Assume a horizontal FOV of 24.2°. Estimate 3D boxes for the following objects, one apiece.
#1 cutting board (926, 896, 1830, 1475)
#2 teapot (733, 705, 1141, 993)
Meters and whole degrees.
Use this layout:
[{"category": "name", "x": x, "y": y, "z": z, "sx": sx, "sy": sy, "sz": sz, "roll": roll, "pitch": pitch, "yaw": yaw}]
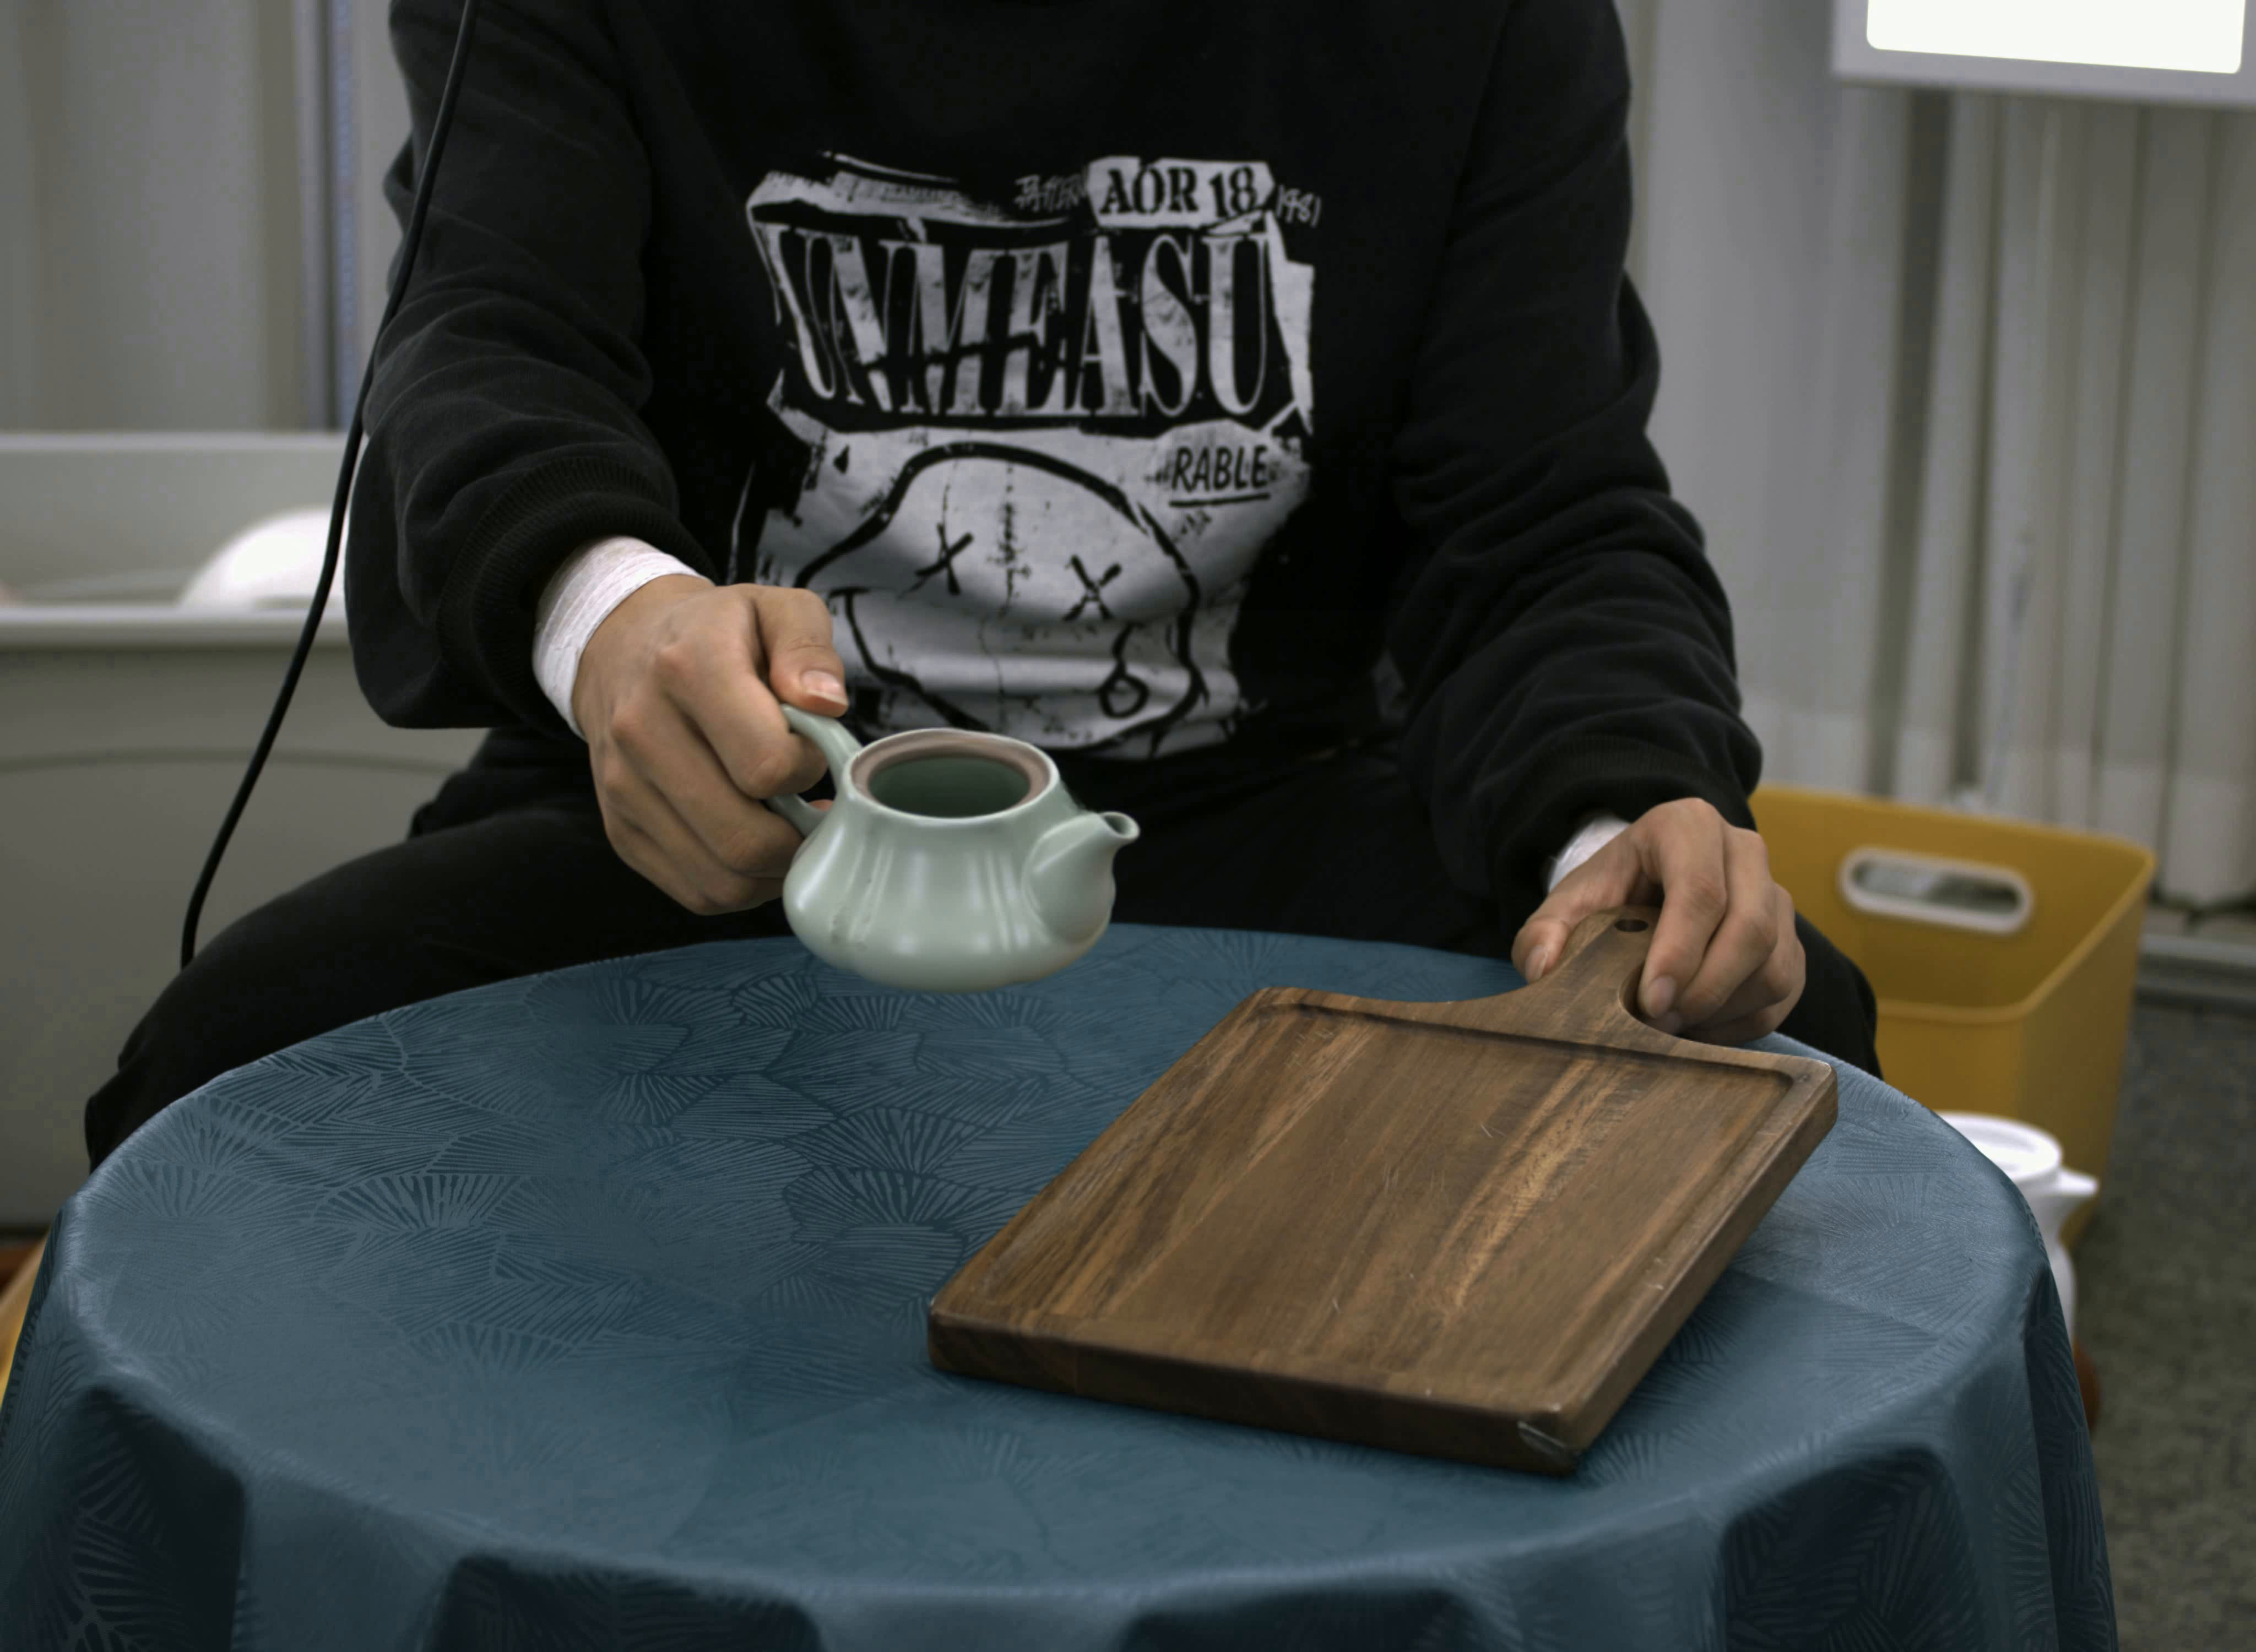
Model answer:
[{"category": "cutting board", "x": 0.098, "y": 0.094, "z": 1.581, "sx": 0.199, "sy": 0.023, "sz": 0.352, "roll": 7, "pitch": 23, "yaw": 22}, {"category": "teapot", "x": -0.057, "y": 0.006, "z": 1.519, "sx": 0.135, "sy": 0.062, "sz": 0.096, "roll": 18, "pitch": 33, "yaw": 27}]
